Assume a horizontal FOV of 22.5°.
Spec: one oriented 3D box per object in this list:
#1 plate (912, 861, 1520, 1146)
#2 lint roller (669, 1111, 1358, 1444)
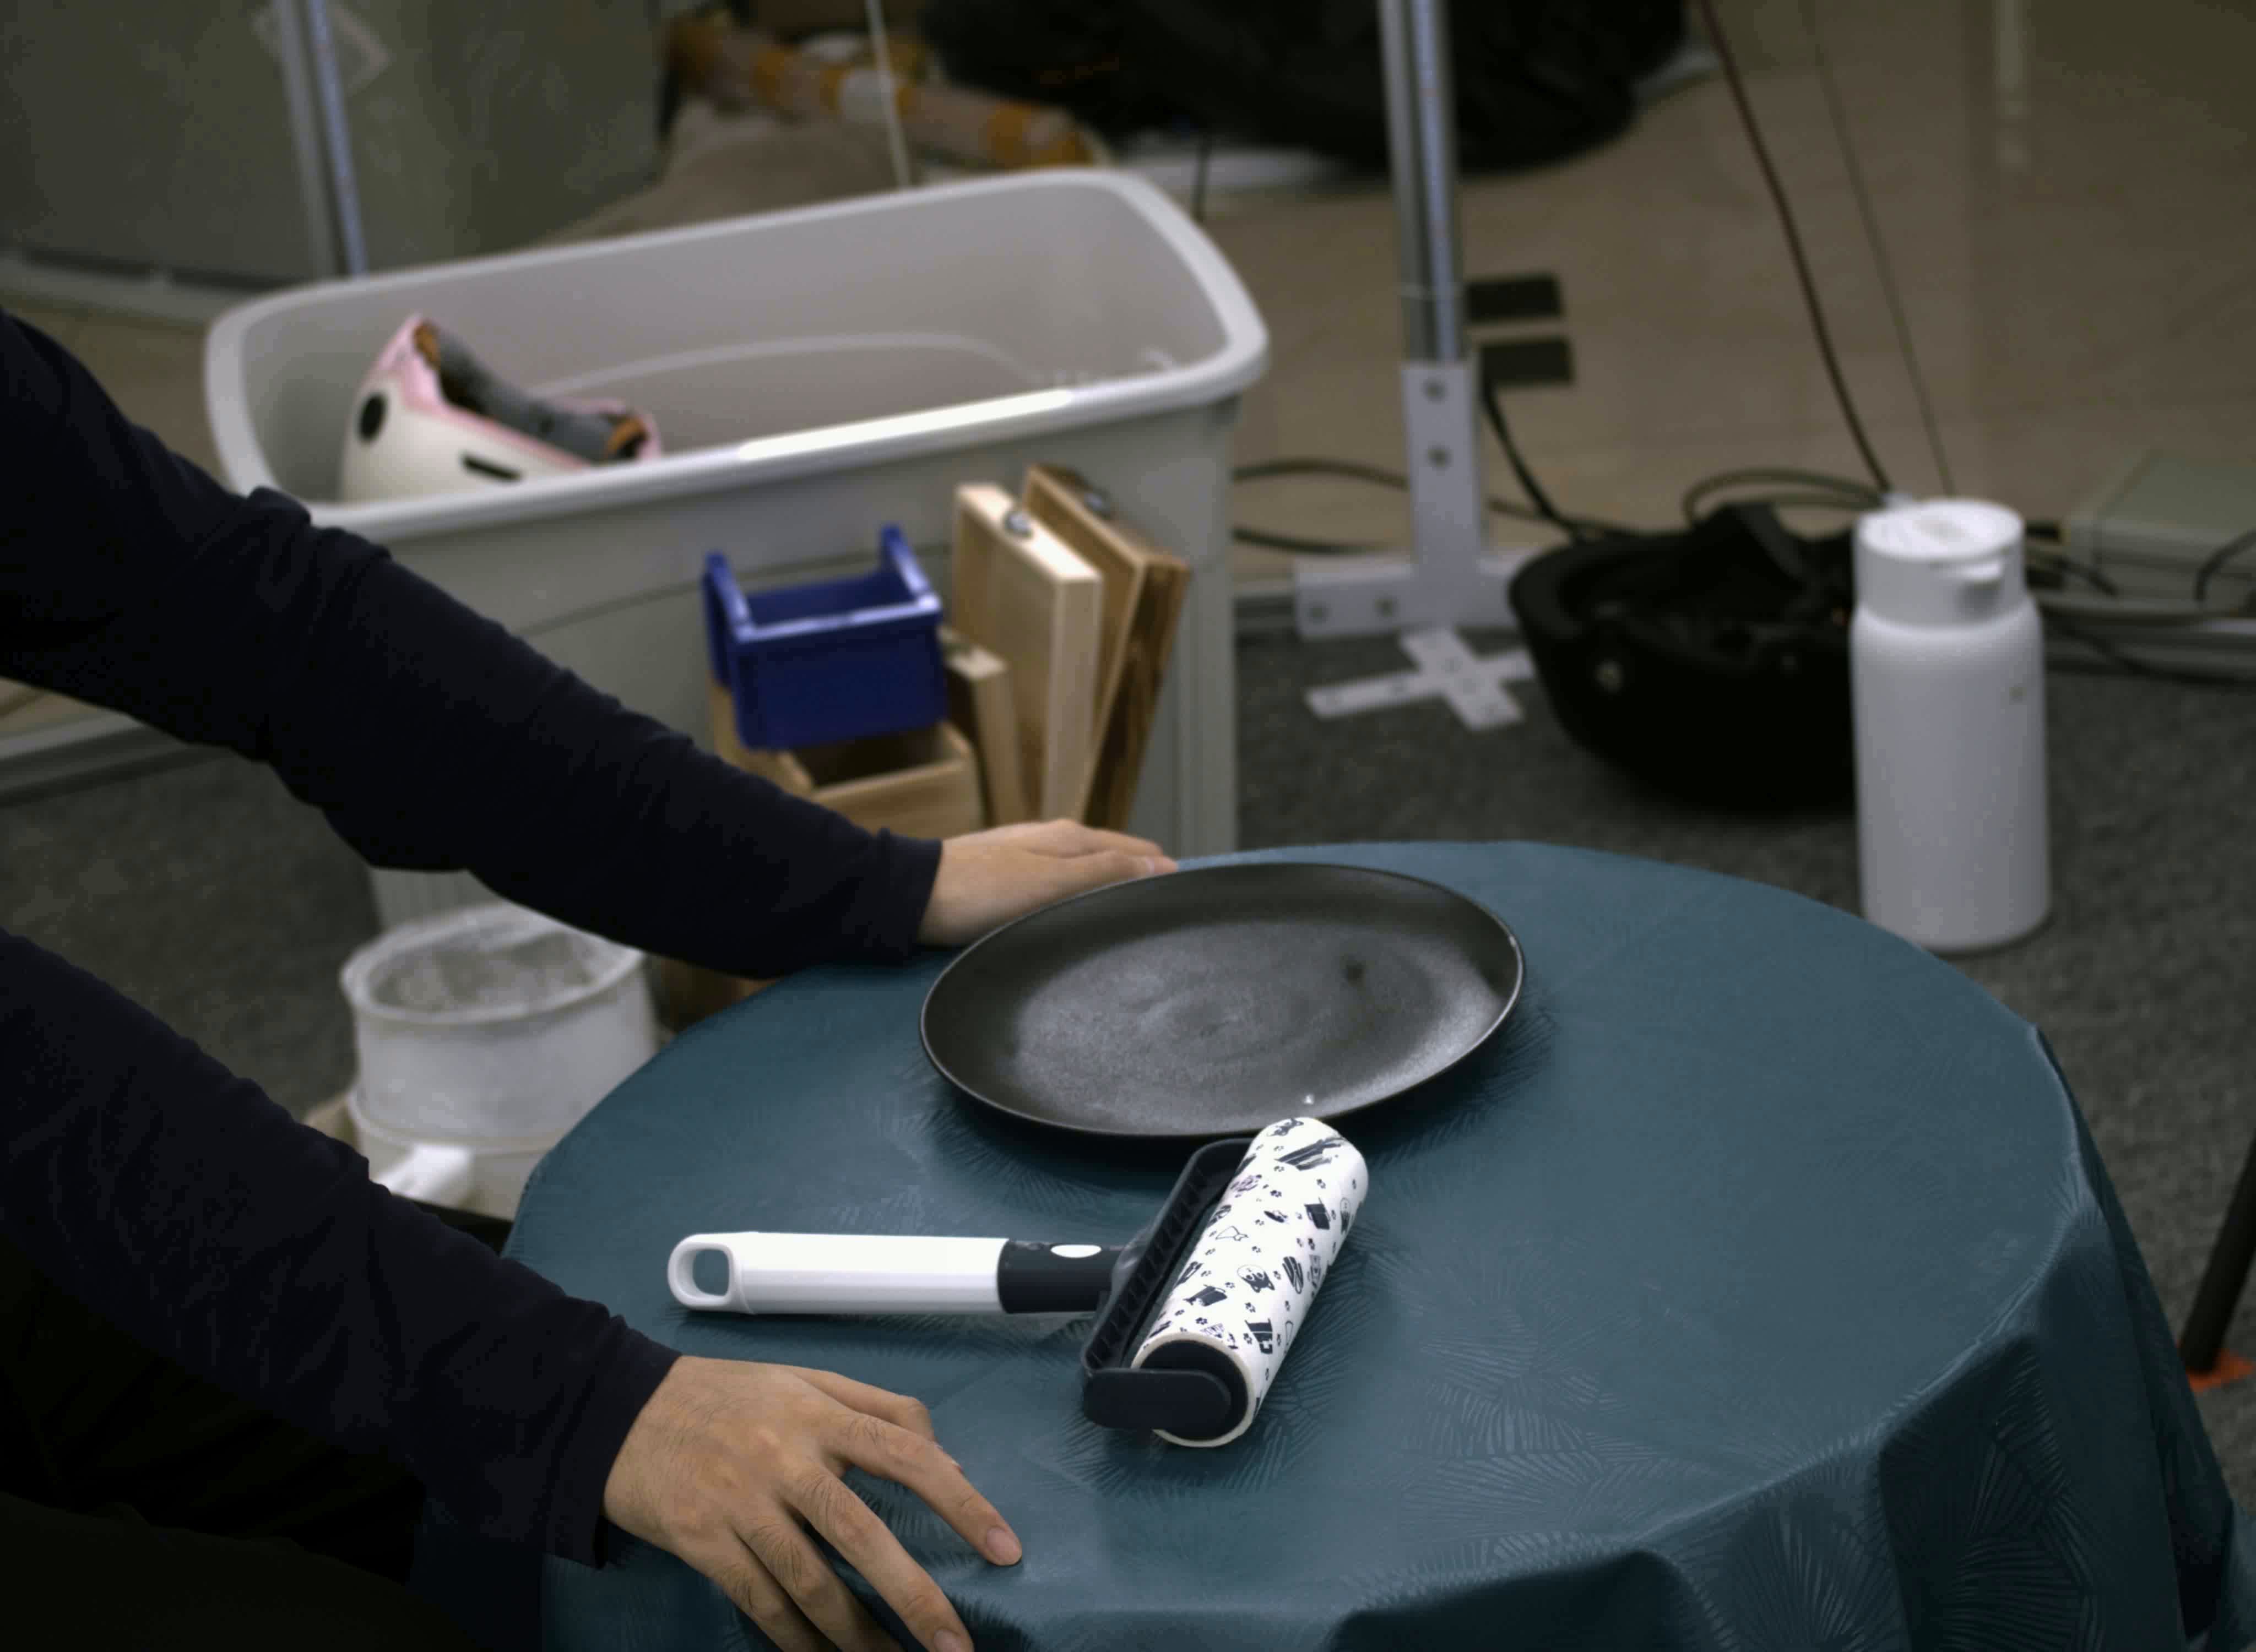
[{"bbox_3d":[0.035,0.075,2.254,0.244,0.024,0.241,-5,25,3],"label":"plate"},{"bbox_3d":[-0.053,0.163,2.063,0.246,0.051,0.174,-1,26,18],"label":"lint roller"}]
